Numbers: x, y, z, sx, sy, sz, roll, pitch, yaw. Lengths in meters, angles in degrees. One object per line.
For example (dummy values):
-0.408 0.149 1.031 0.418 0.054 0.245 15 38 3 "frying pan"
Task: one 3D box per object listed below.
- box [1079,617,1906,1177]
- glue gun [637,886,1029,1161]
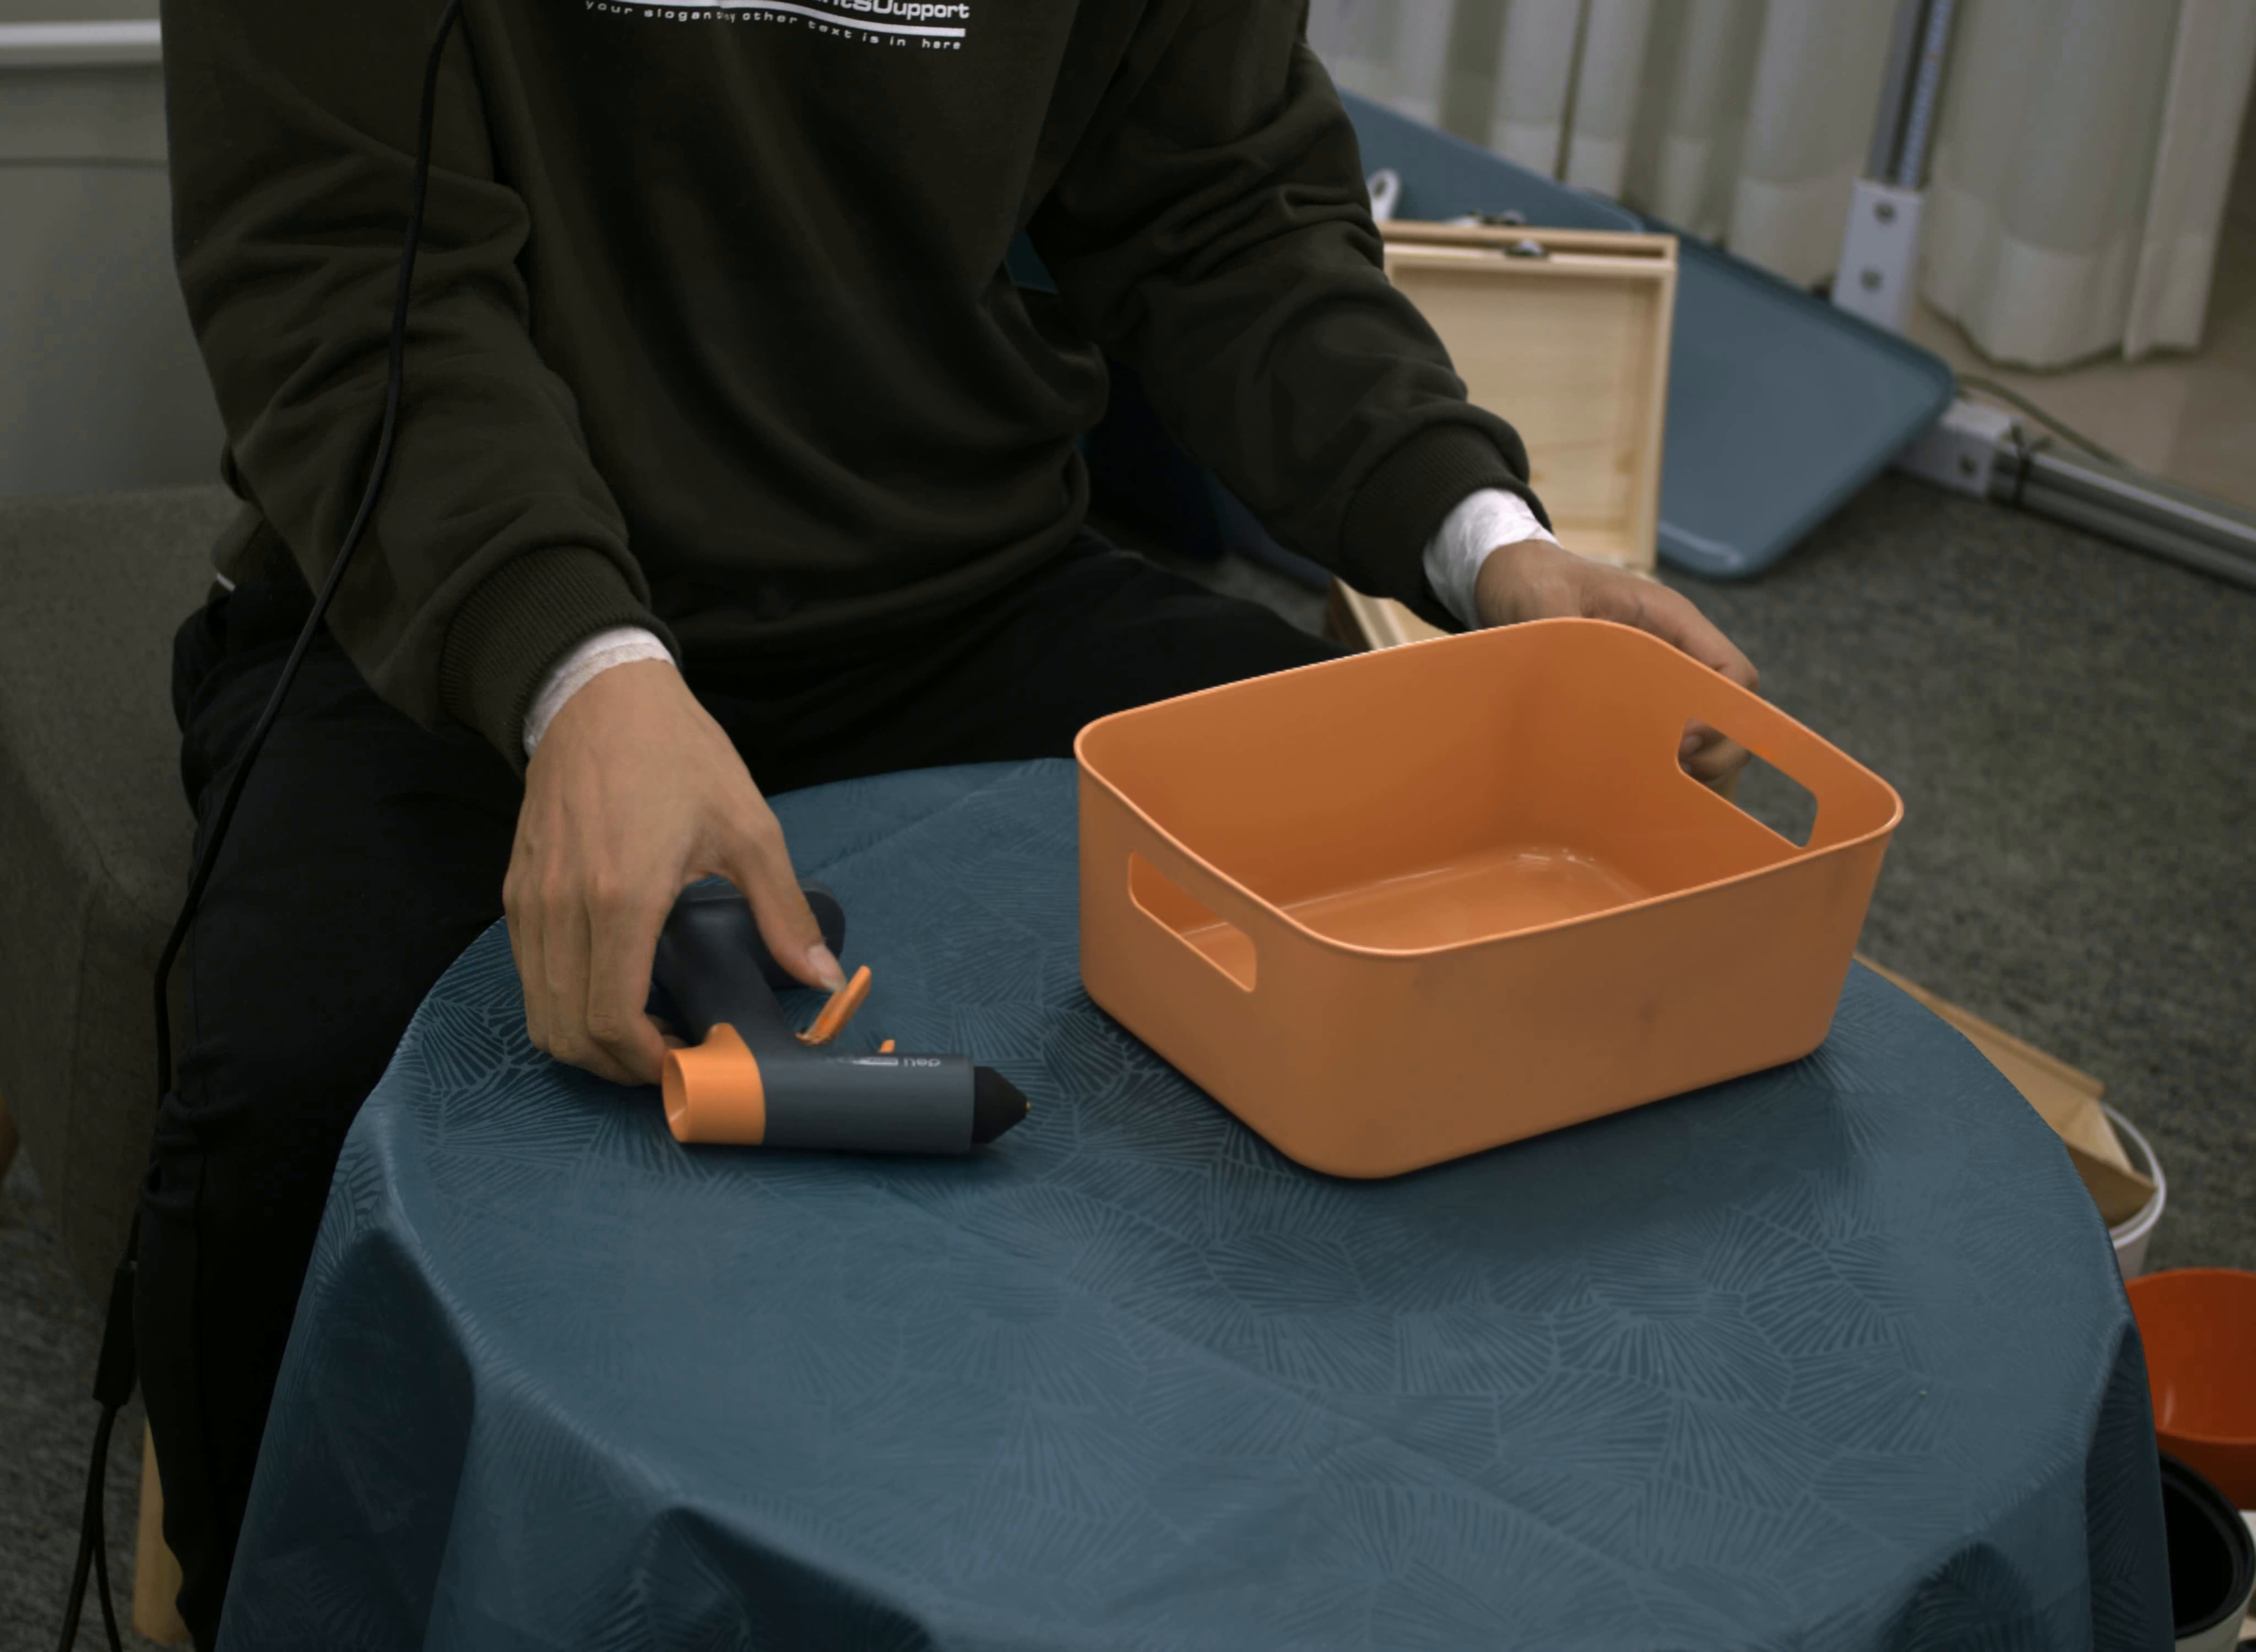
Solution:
0.125 0.024 1.921 0.271 0.102 0.201 -13 33 -33 "box"
-0.109 0.073 1.850 0.117 0.041 0.141 -3 31 -23 "glue gun"
